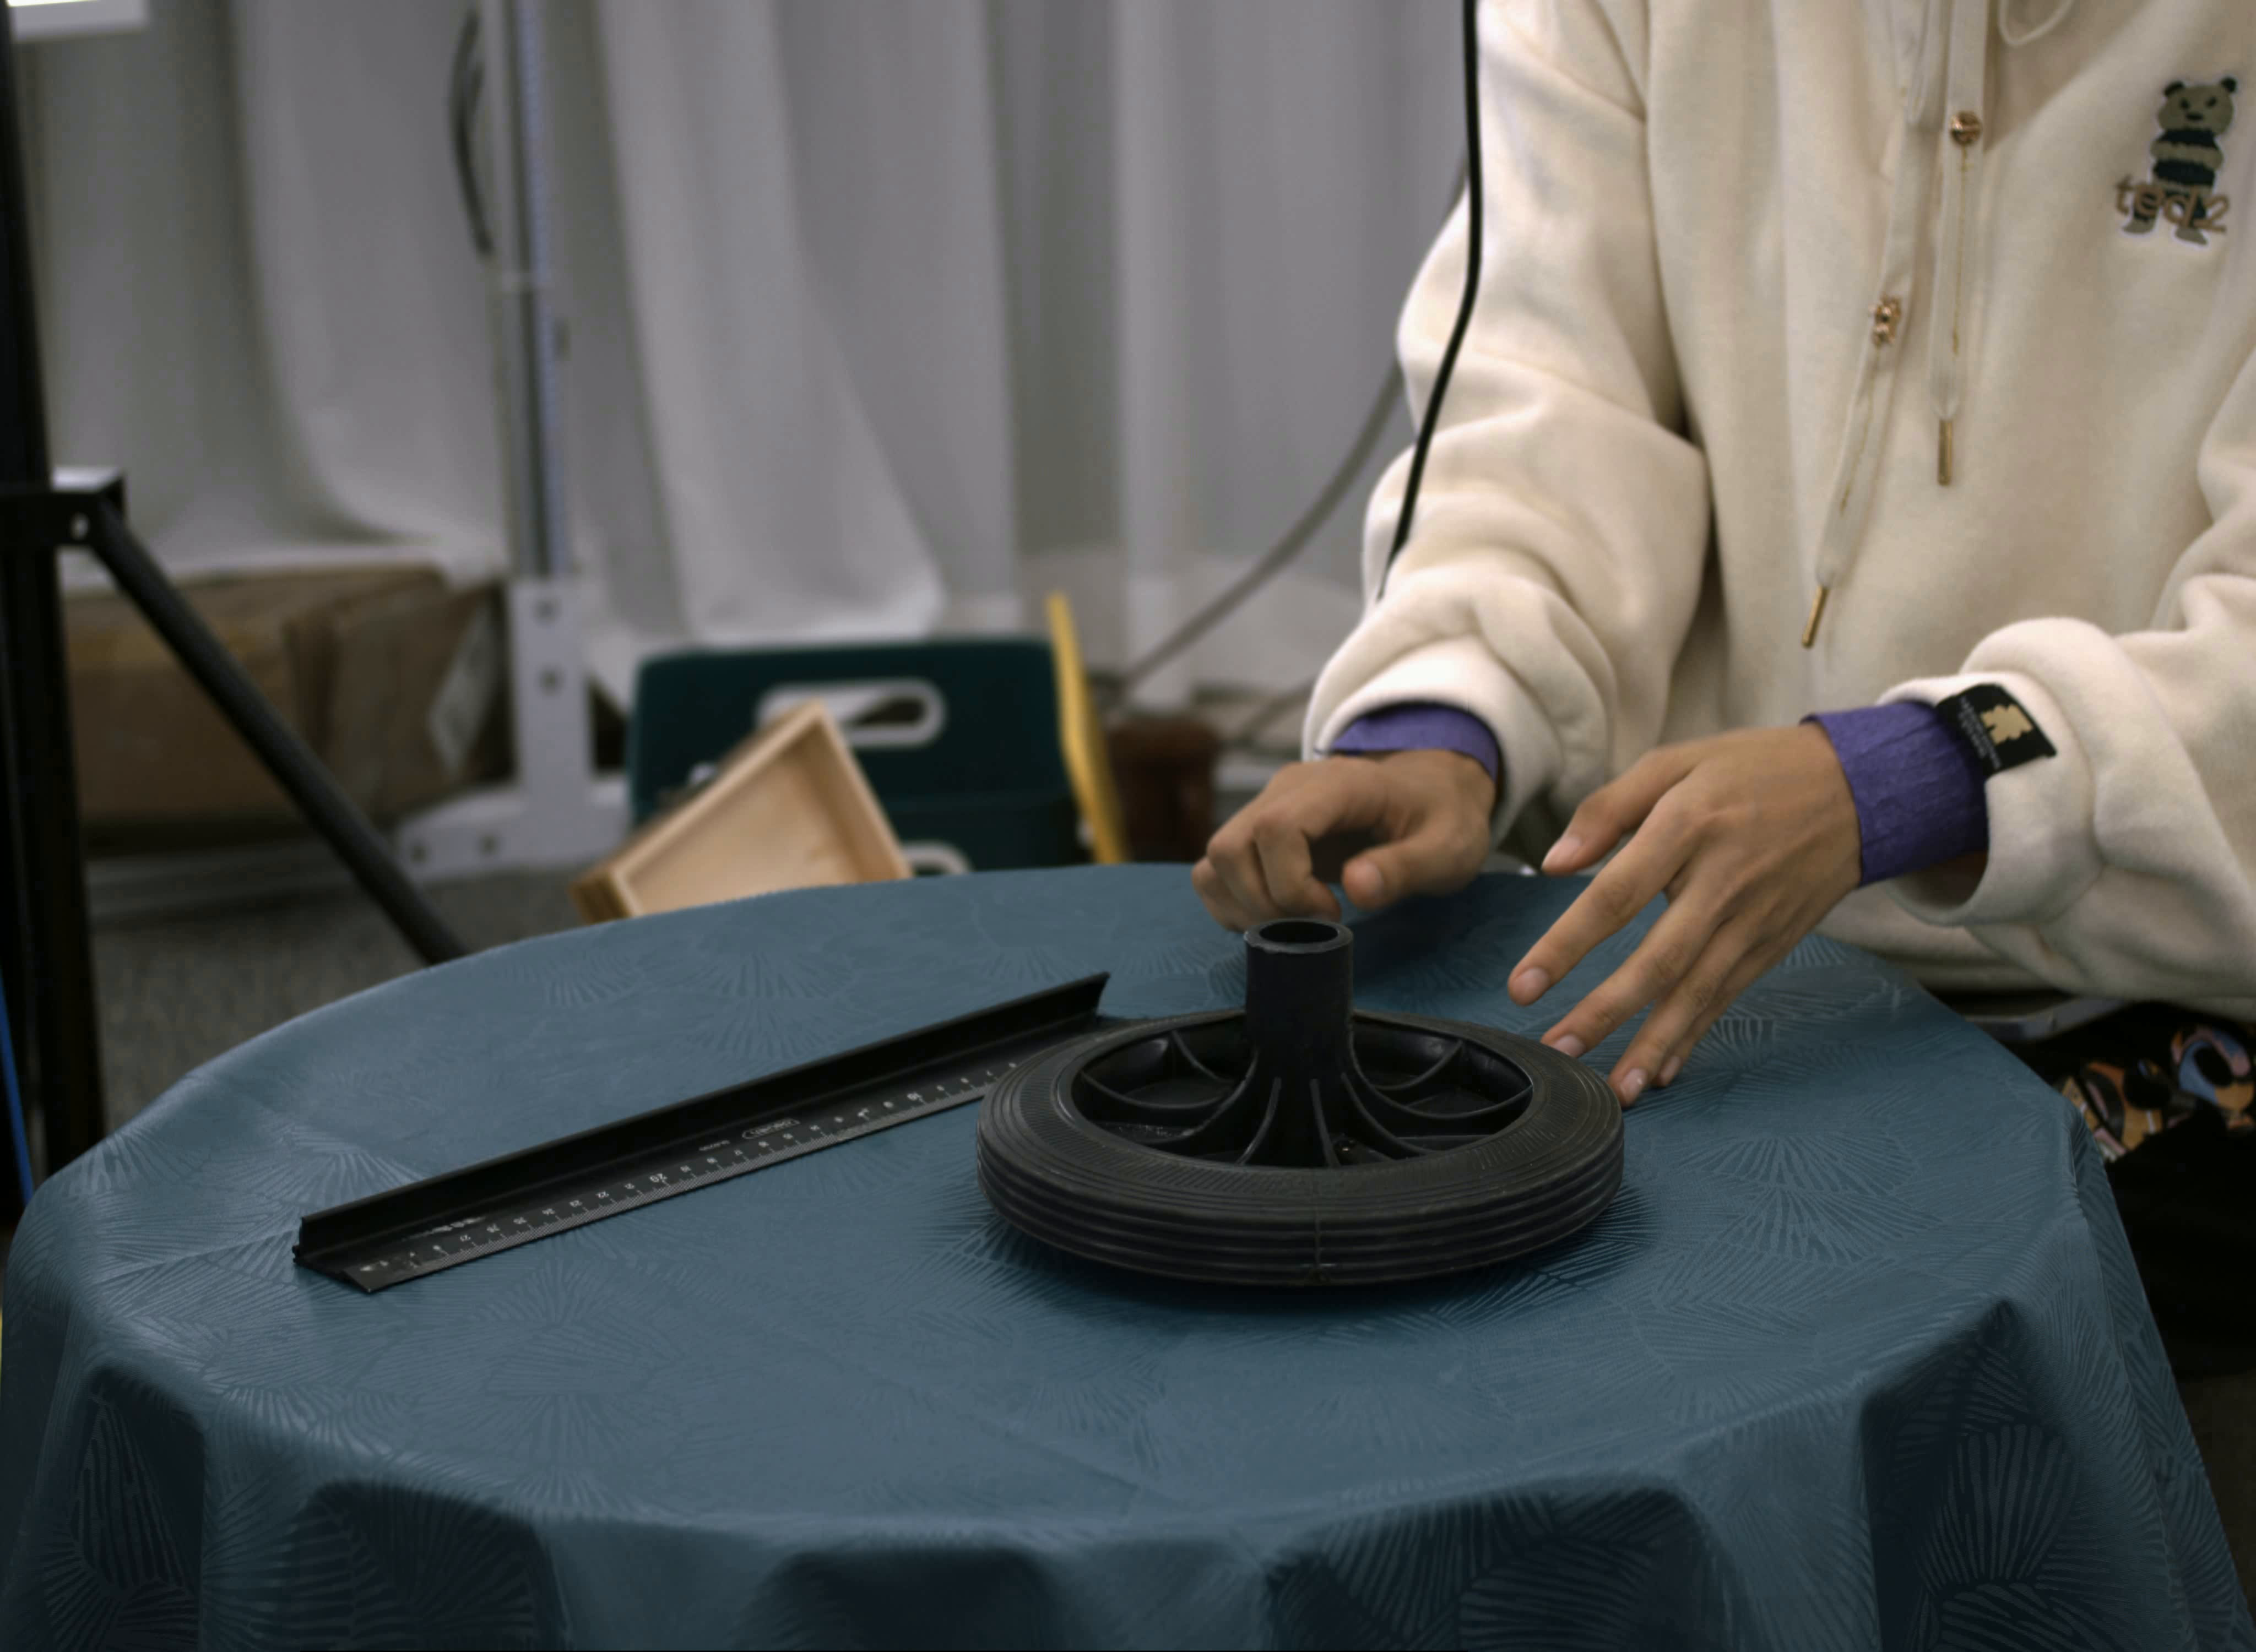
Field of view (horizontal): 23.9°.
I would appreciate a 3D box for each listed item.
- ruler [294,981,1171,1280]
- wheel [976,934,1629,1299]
[{"bbox_3d":[-0.113,0.090,1.612,0.305,0.017,0.040,-15,23,-38],"label":"ruler"},{"bbox_3d":[0.051,0.074,1.531,0.194,0.079,0.183,11,20,35],"label":"wheel"}]
